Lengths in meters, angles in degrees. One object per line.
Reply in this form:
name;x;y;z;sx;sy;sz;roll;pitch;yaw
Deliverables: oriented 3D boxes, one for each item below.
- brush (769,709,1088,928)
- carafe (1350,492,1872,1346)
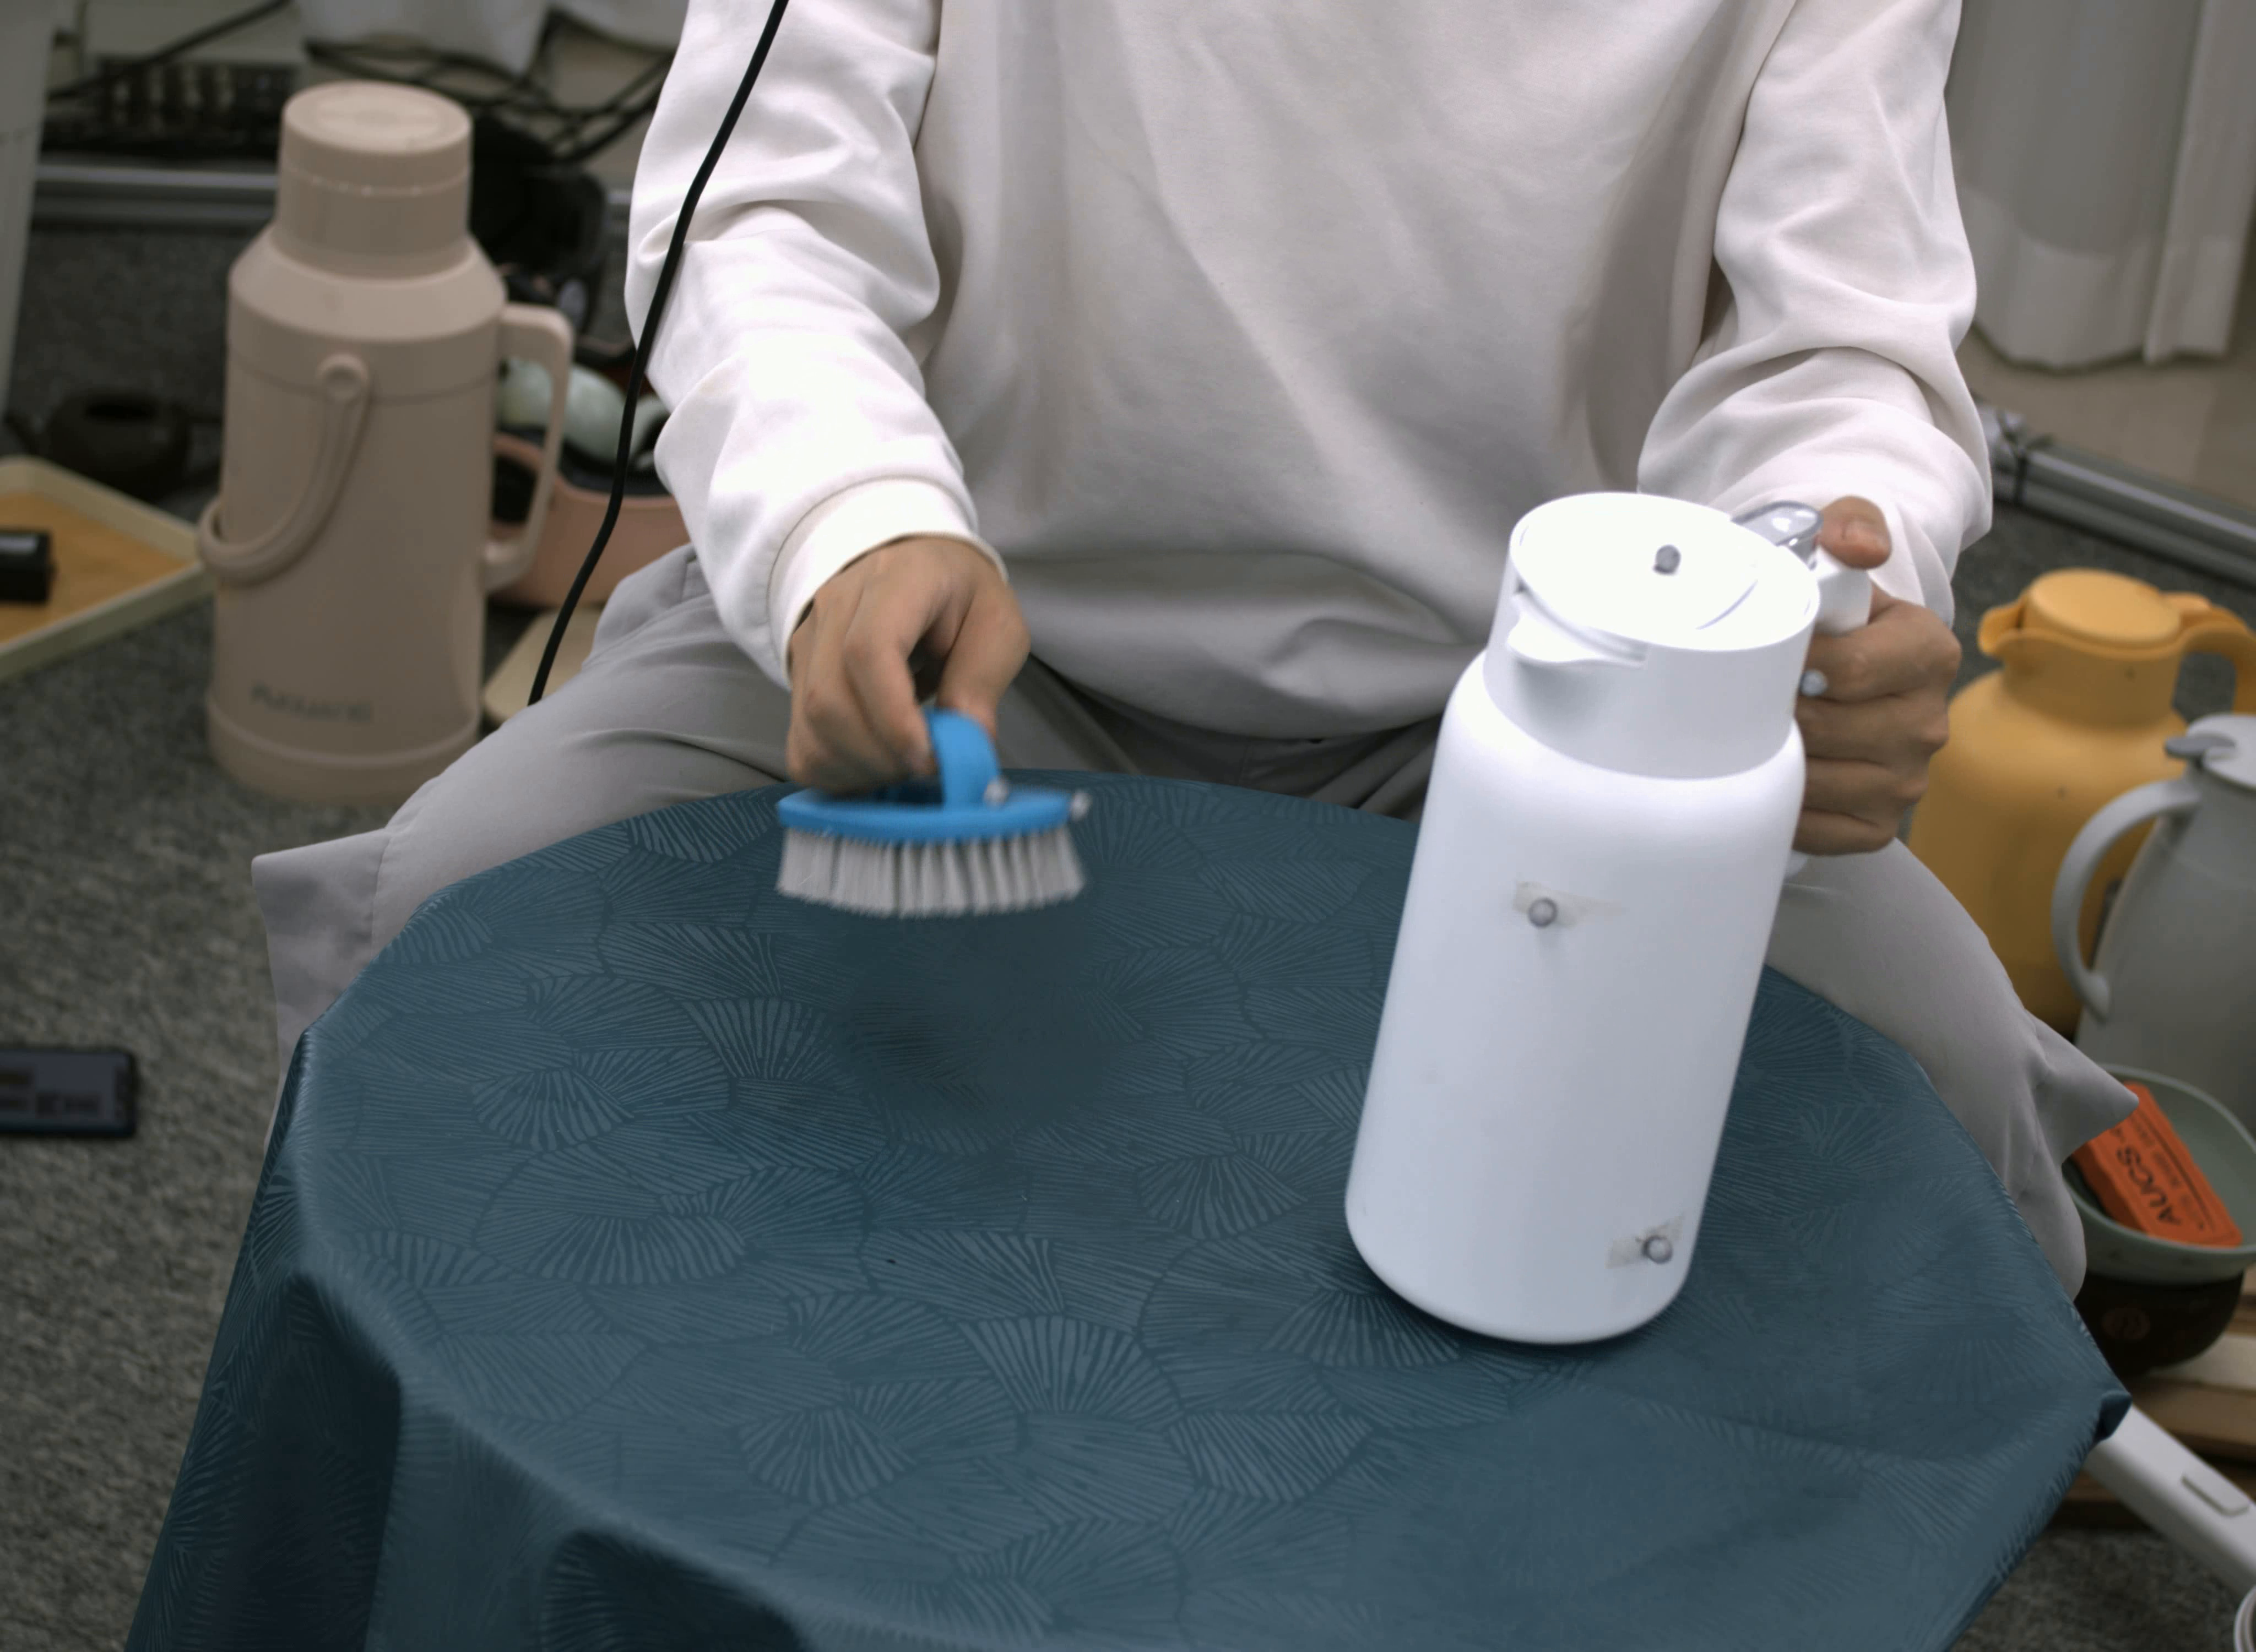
brush;-0.073;-0.007;1.833;0.084;0.064;0.142;-12;9;-25
carafe;0.160;0.026;1.730;0.125;0.268;0.172;29;36;34
